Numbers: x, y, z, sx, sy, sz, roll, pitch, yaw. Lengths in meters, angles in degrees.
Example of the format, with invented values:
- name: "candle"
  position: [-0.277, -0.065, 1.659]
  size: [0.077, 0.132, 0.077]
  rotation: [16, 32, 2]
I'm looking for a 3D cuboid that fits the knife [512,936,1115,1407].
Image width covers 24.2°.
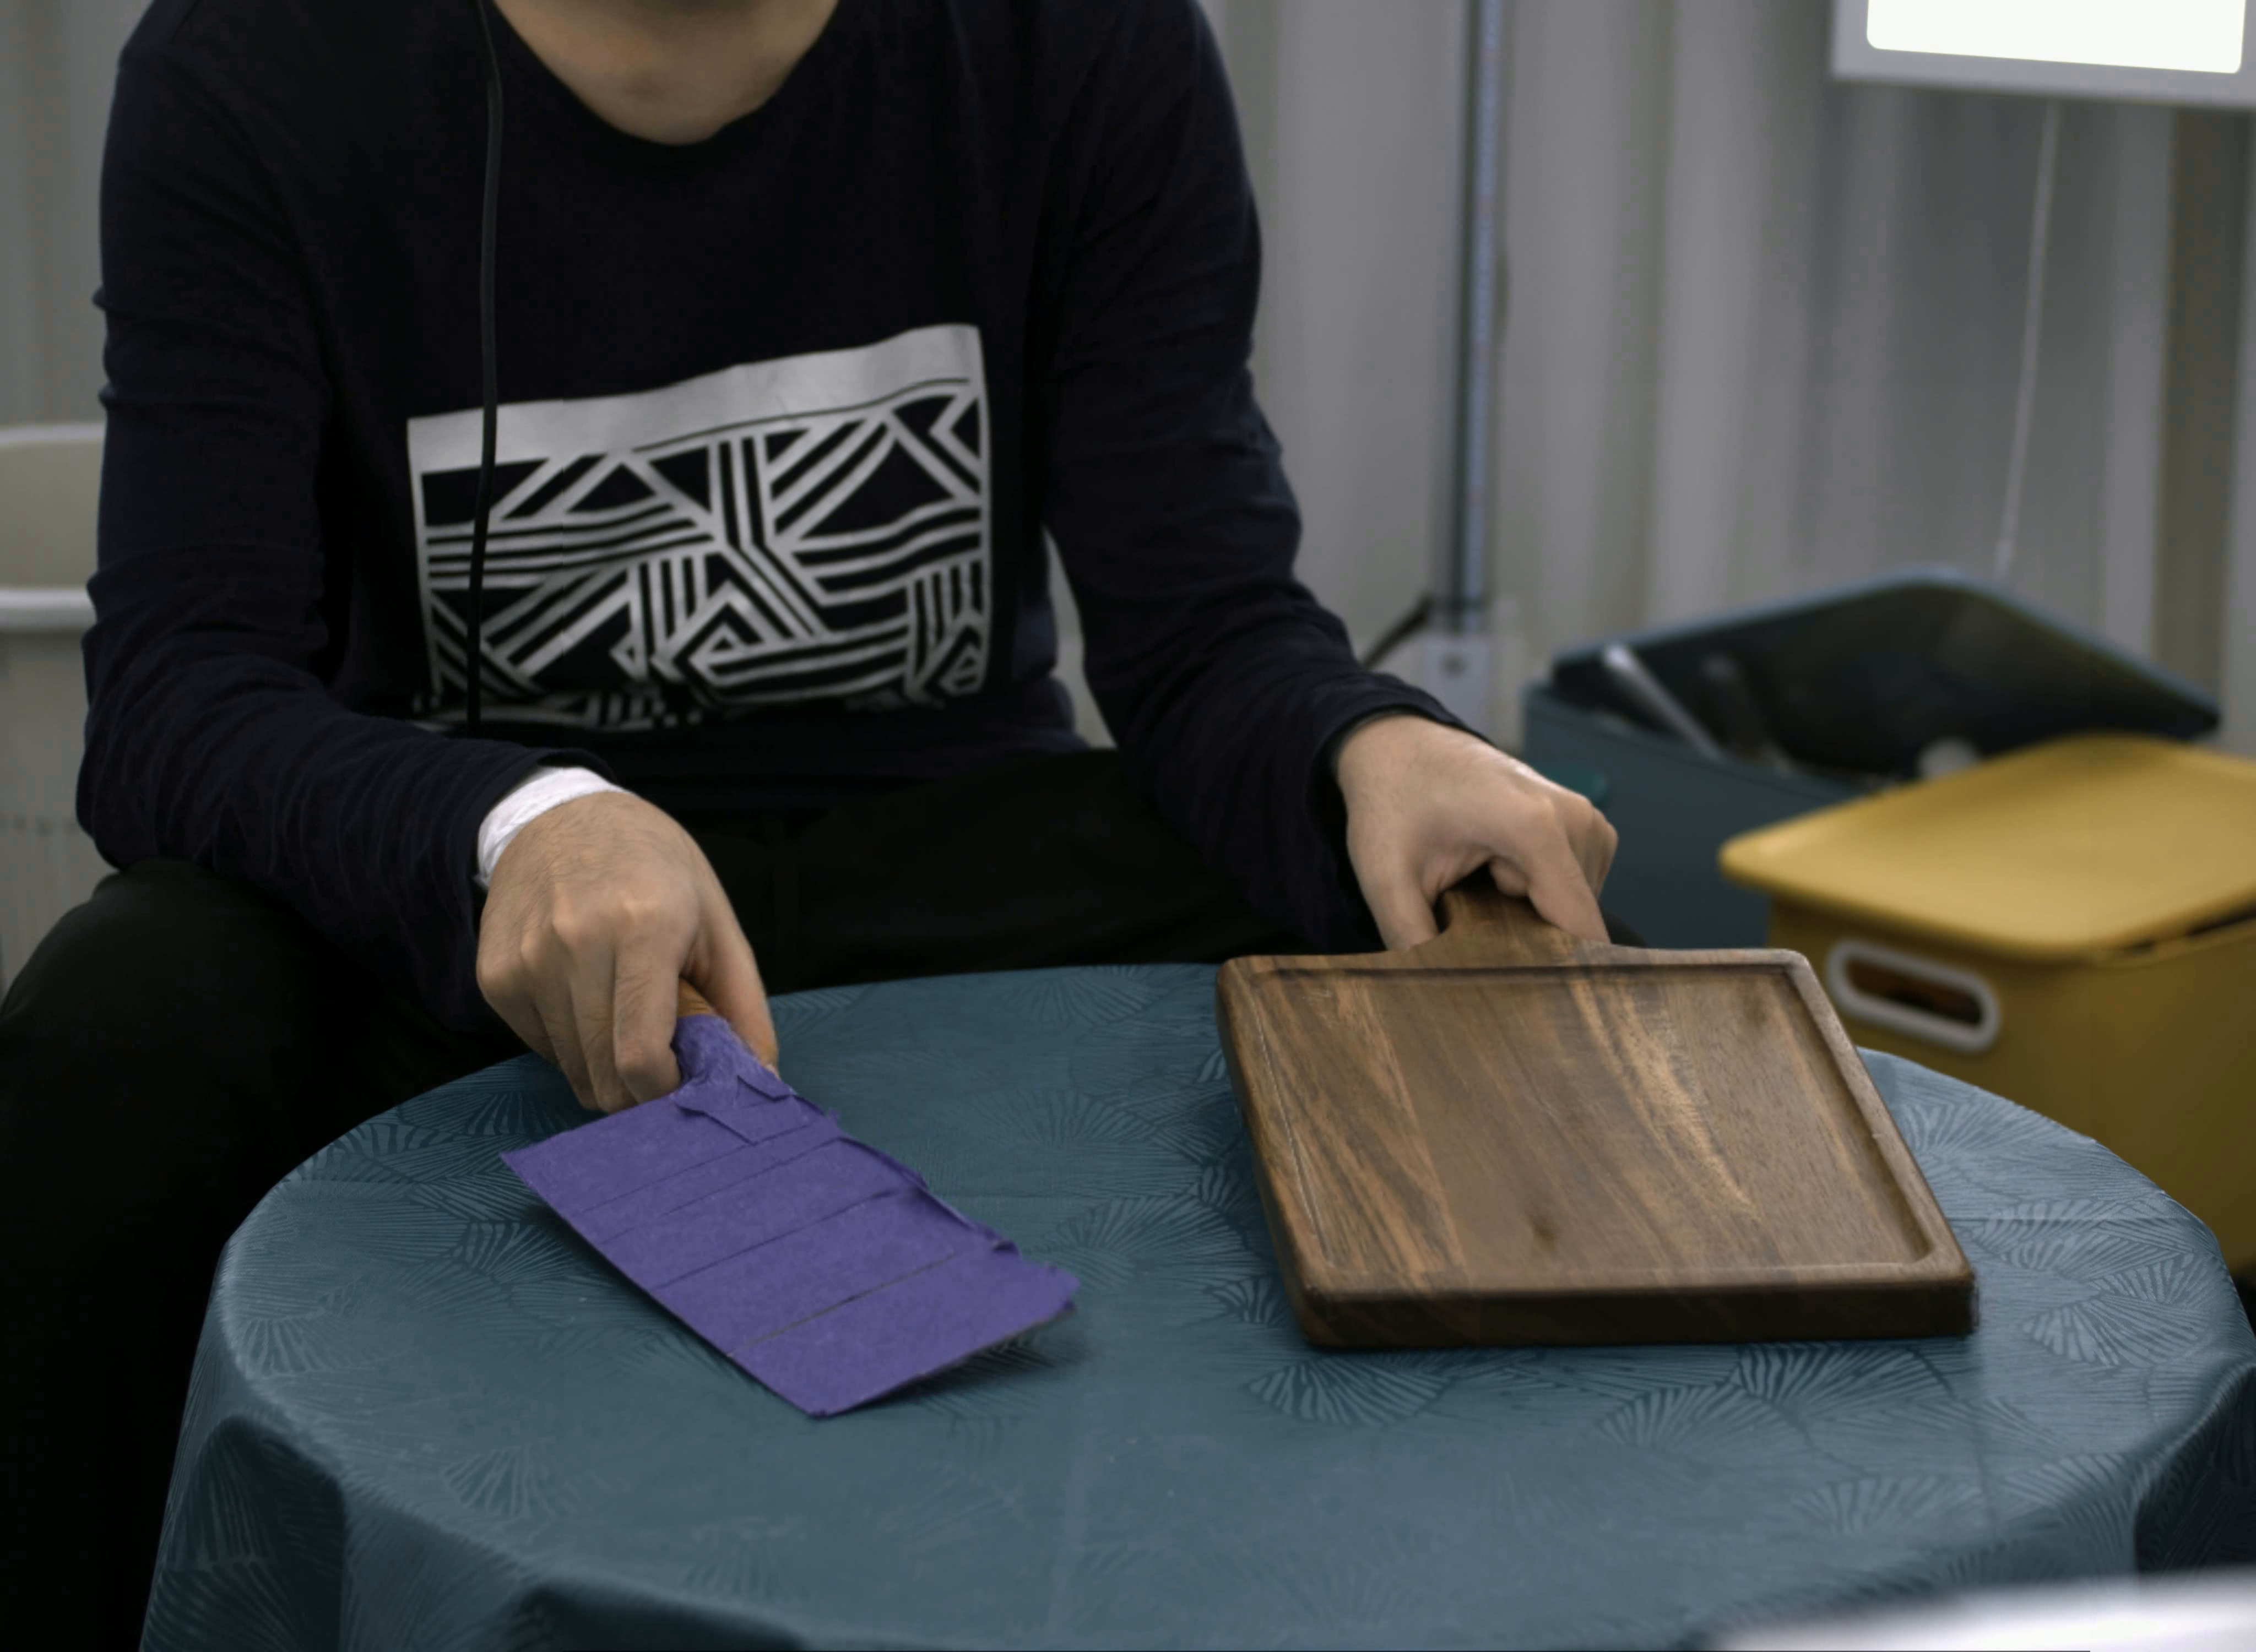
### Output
- name: "knife"
  position: [-0.126, 0.099, 1.578]
  size: [0.104, 0.032, 0.311]
  rotation: [-17, 24, -27]

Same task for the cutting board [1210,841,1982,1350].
- name: "cutting board"
  position: [0.132, 0.077, 1.656]
  size: [0.201, 0.023, 0.349]
  rotation: [-1, 21, -5]
